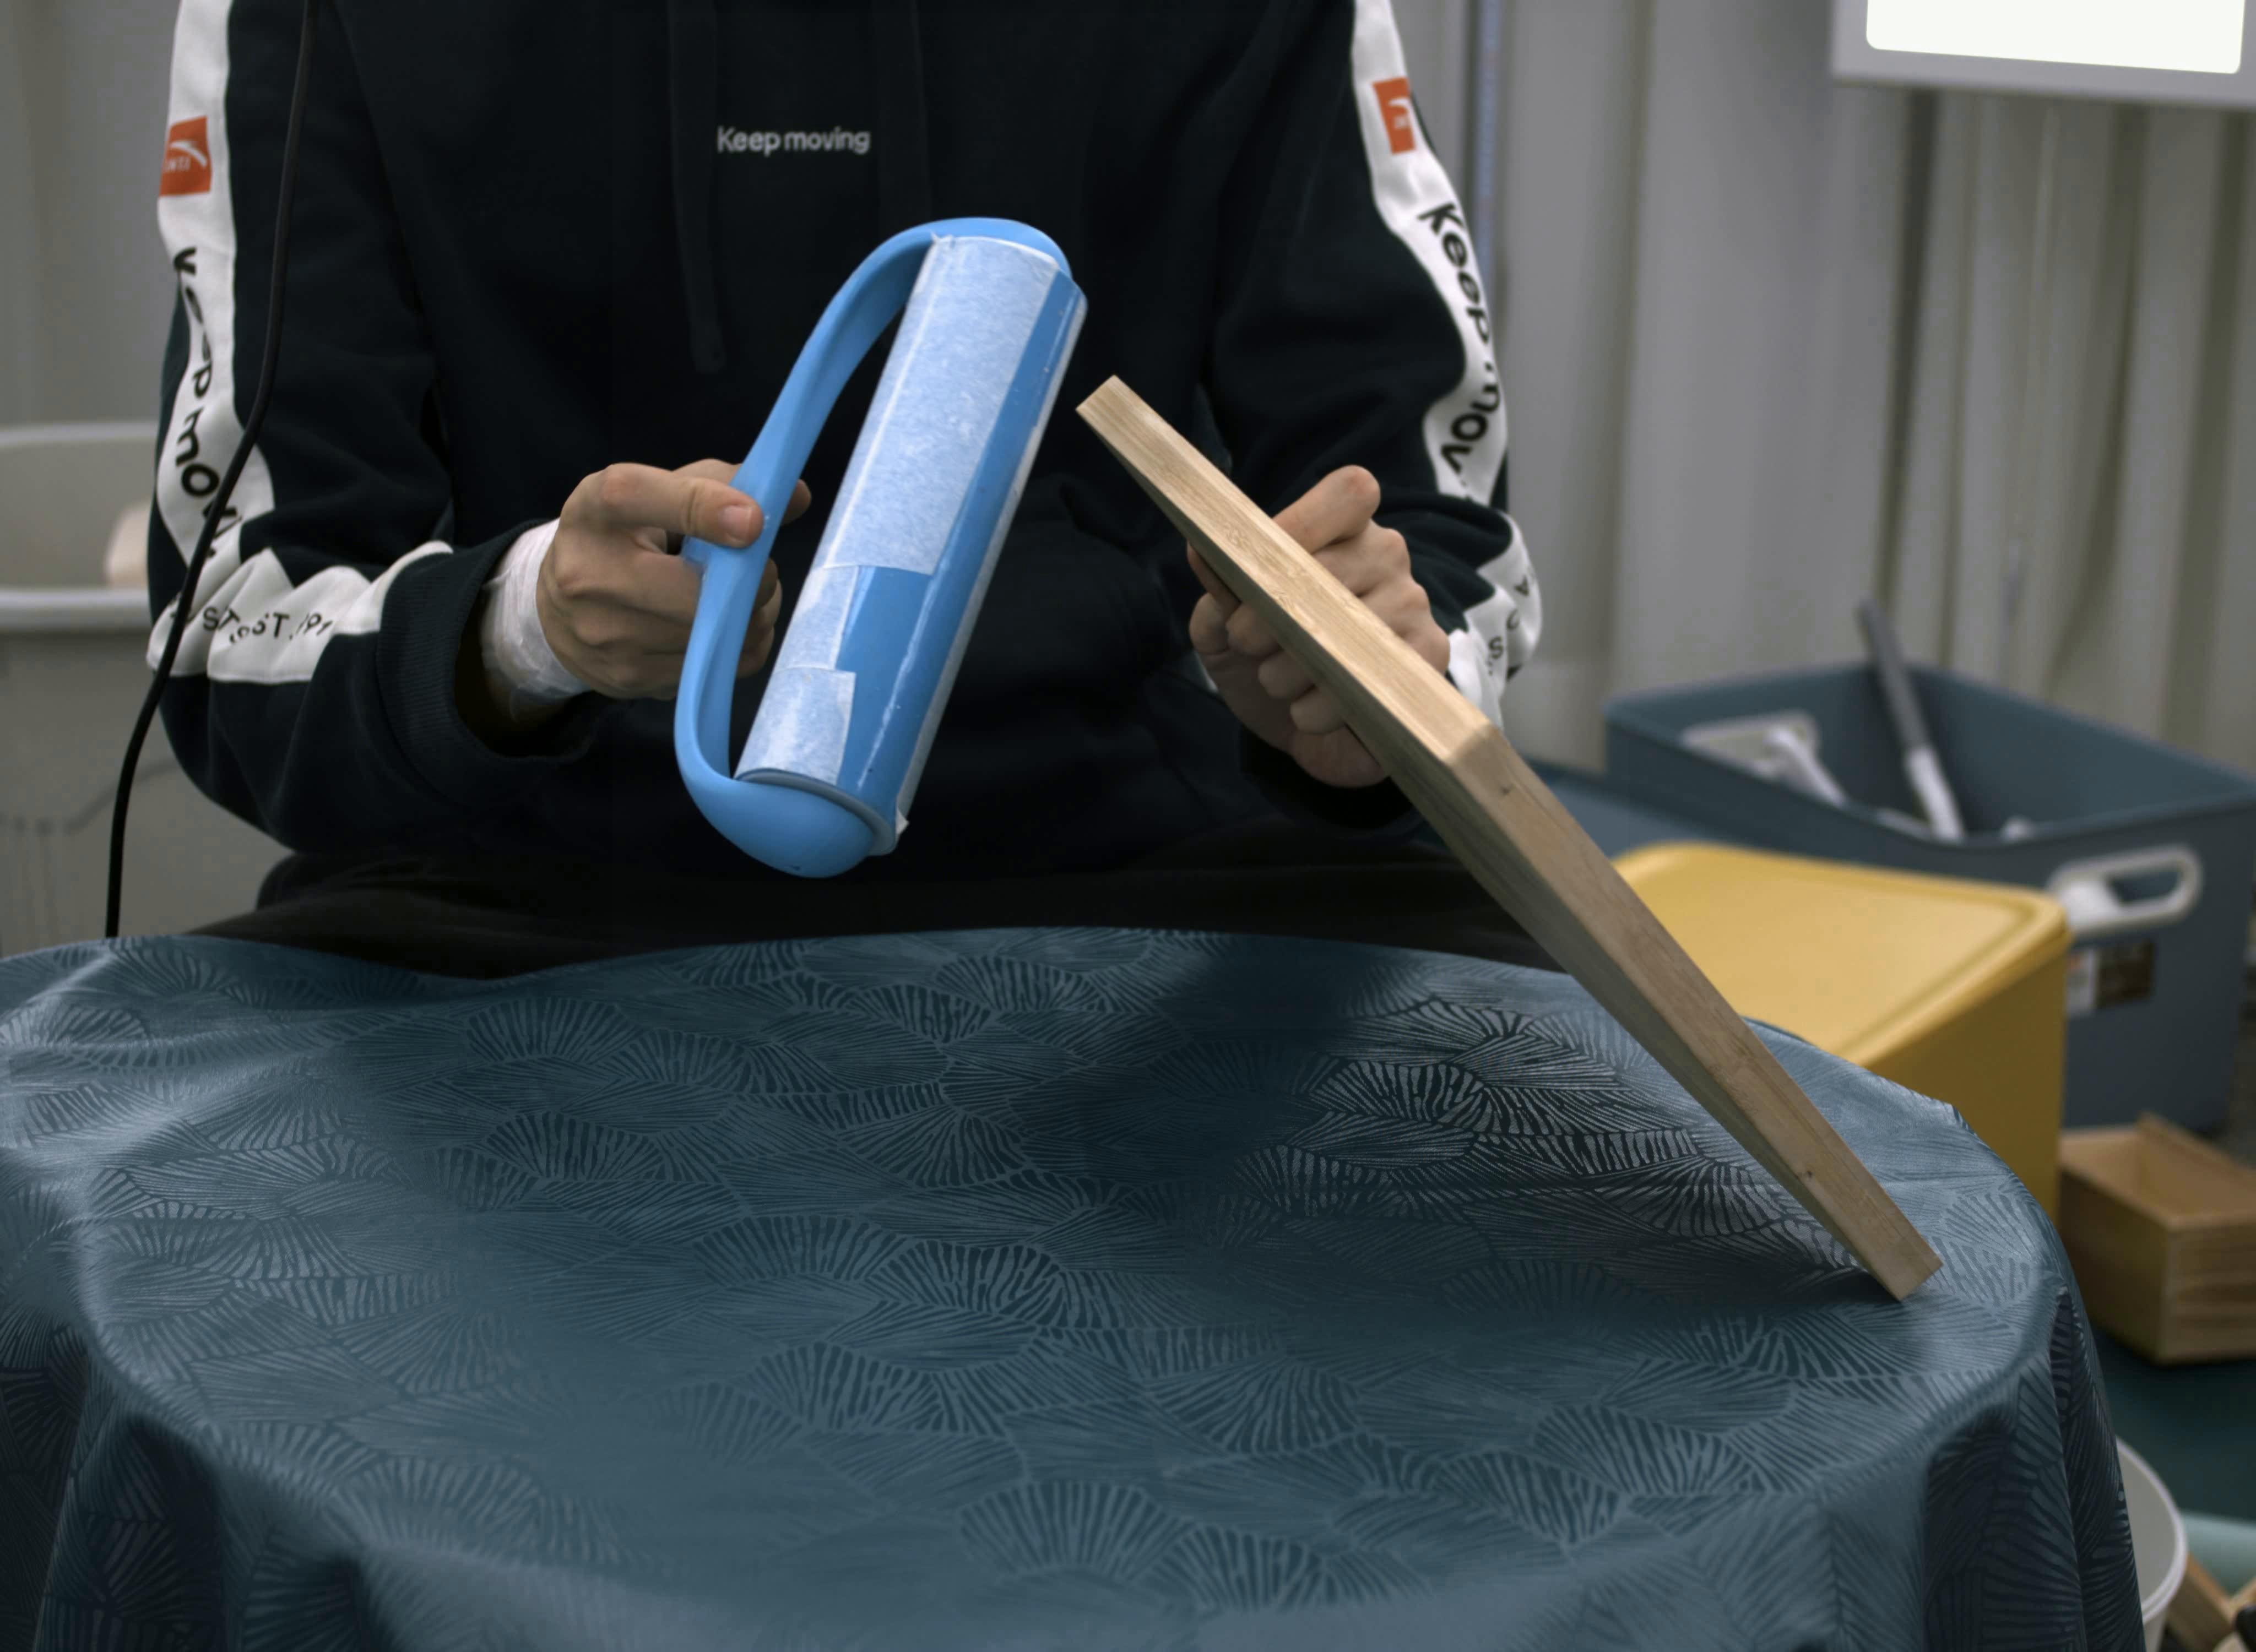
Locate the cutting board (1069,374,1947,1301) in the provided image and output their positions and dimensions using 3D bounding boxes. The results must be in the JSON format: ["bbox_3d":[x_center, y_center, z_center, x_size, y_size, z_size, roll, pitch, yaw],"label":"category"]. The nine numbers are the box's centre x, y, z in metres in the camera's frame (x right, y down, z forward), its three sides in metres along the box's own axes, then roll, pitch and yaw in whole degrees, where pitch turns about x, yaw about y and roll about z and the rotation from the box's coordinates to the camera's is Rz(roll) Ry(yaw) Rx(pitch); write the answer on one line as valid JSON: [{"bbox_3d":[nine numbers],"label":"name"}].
[{"bbox_3d":[0.108,-0.005,1.626,0.023,0.254,0.344,-41,29,0],"label":"cutting board"}]

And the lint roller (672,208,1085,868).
[{"bbox_3d":[-0.105,-0.081,1.659,0.068,0.228,0.179,31,-28,-32],"label":"lint roller"}]
